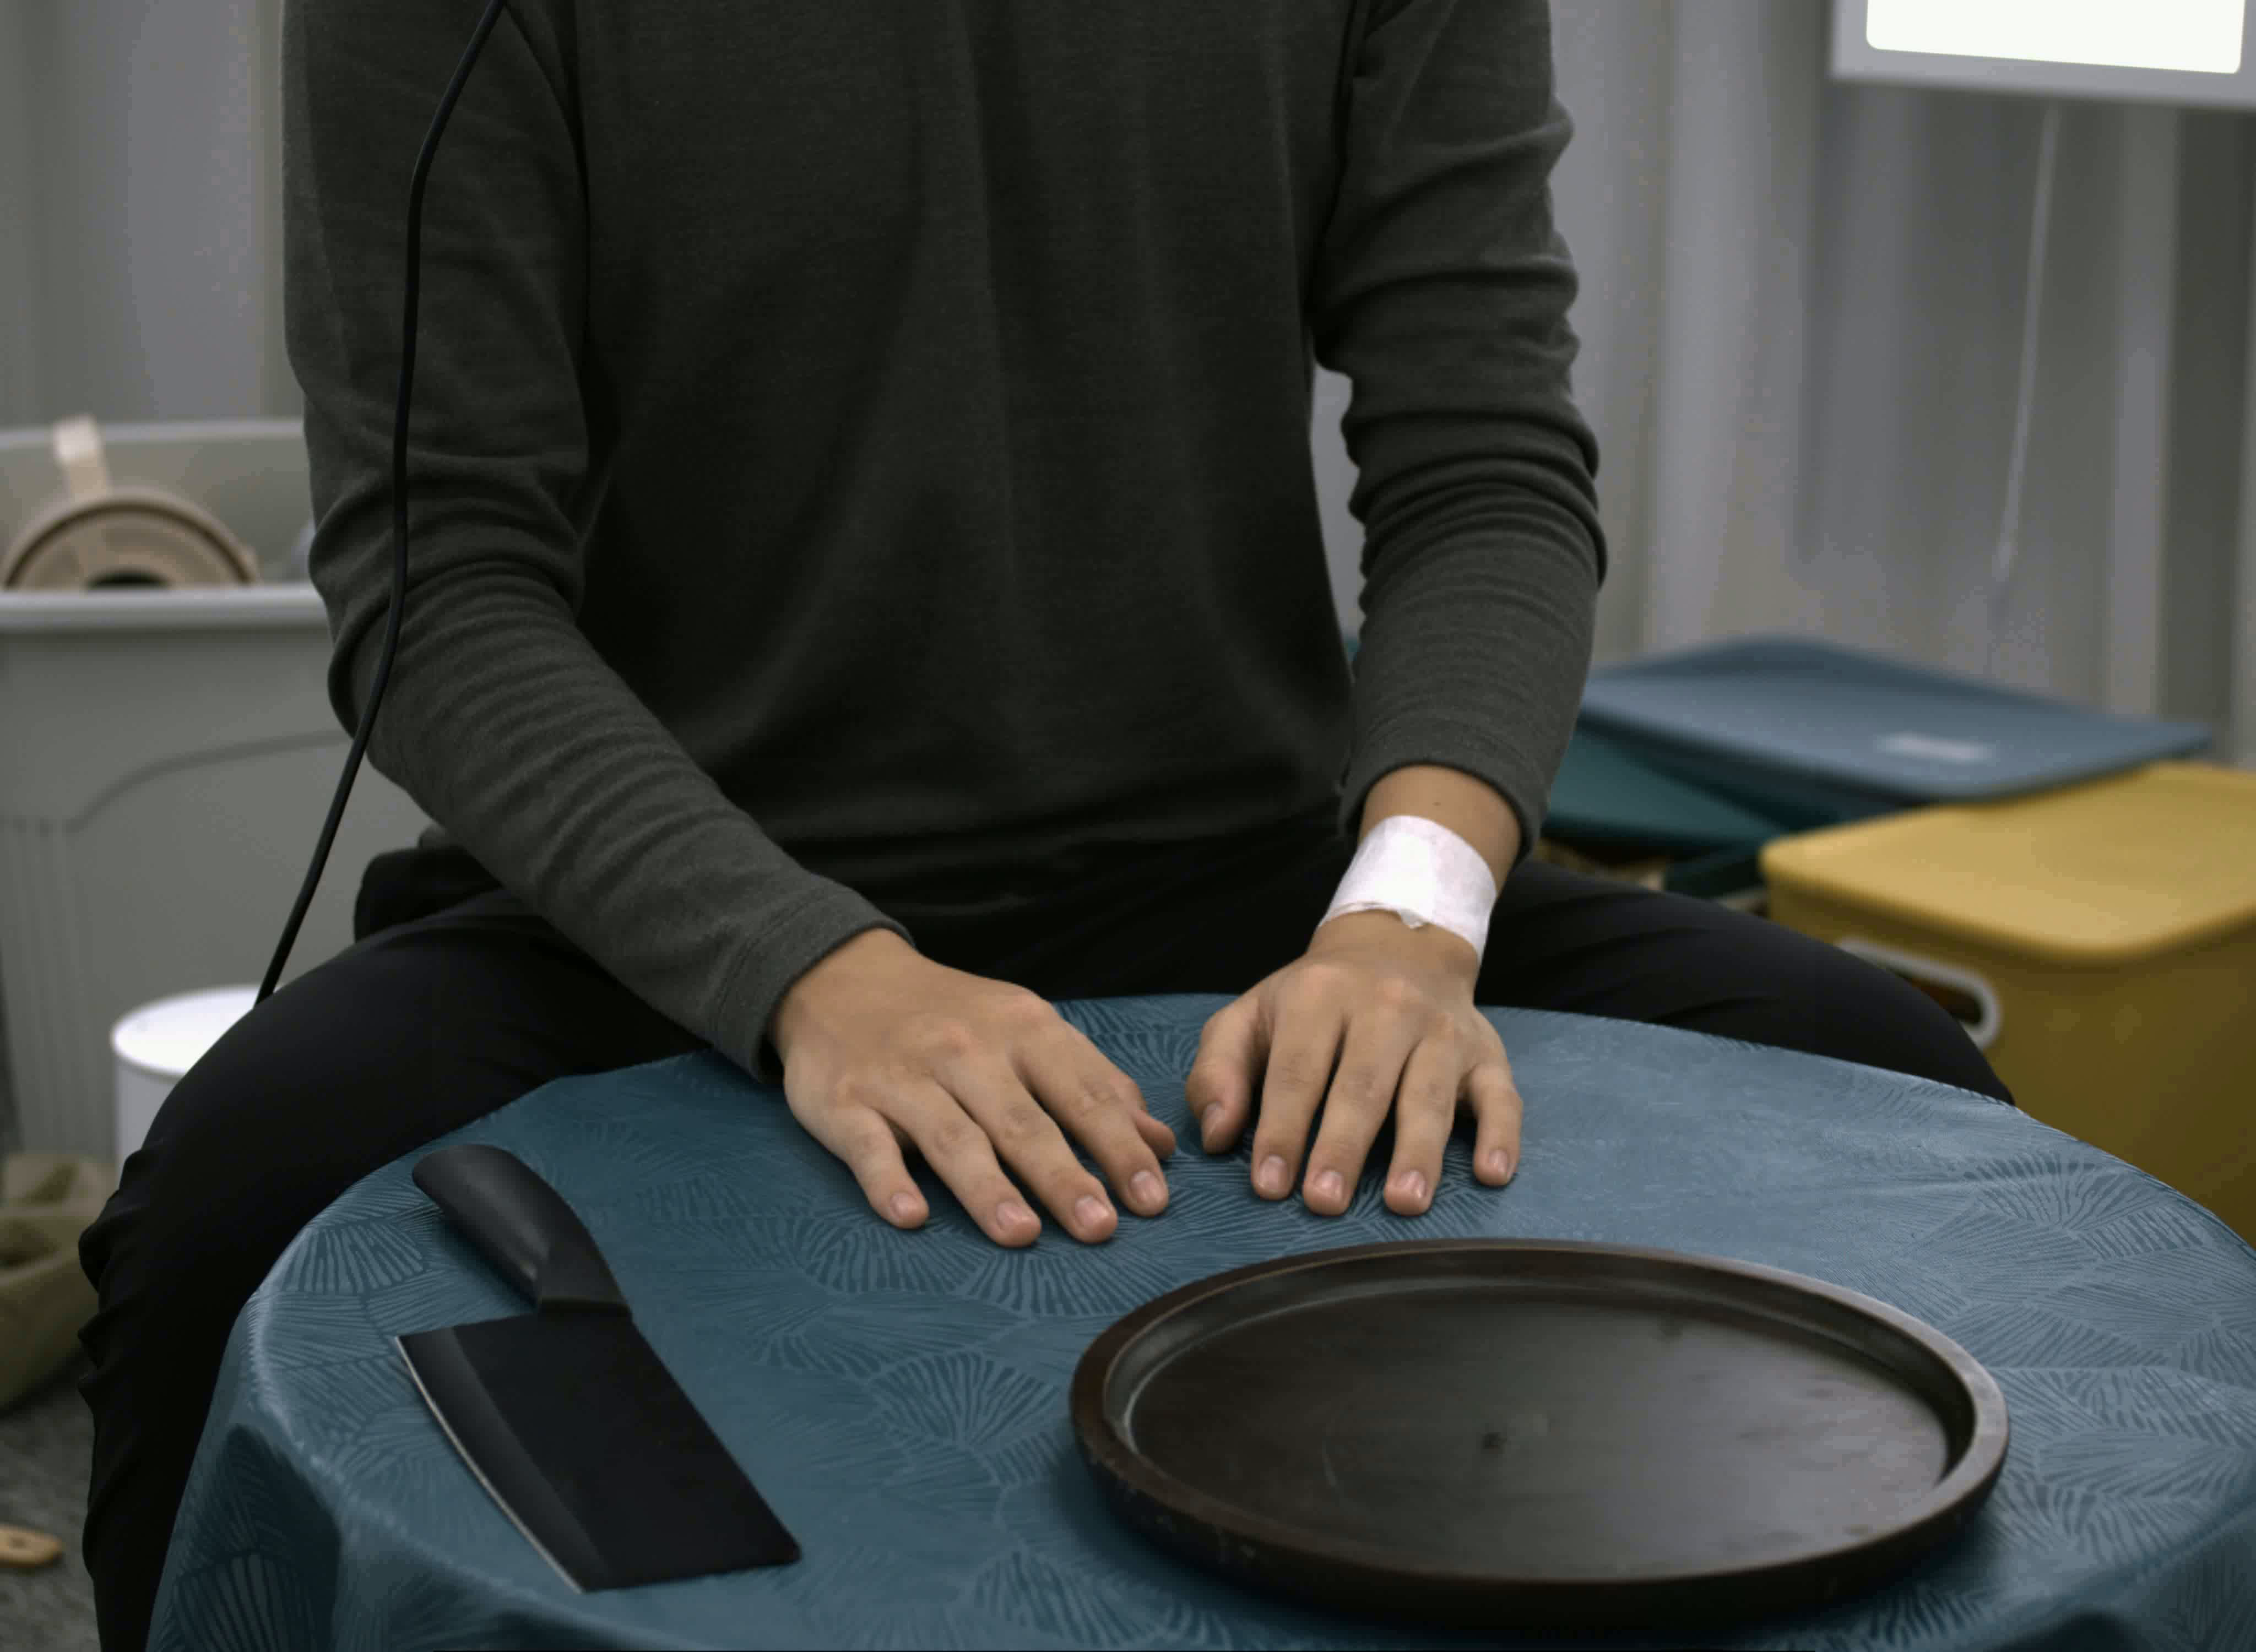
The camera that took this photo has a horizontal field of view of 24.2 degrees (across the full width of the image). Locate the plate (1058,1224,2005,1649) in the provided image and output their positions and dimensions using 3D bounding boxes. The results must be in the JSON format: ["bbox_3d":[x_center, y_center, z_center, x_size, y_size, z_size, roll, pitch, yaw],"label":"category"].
[{"bbox_3d":[0.107,0.161,1.408,0.254,0.029,0.253,0,16,1],"label":"plate"}]

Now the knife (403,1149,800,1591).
[{"bbox_3d":[-0.162,0.148,1.464,0.081,0.021,0.299,-5,18,-16],"label":"knife"}]
